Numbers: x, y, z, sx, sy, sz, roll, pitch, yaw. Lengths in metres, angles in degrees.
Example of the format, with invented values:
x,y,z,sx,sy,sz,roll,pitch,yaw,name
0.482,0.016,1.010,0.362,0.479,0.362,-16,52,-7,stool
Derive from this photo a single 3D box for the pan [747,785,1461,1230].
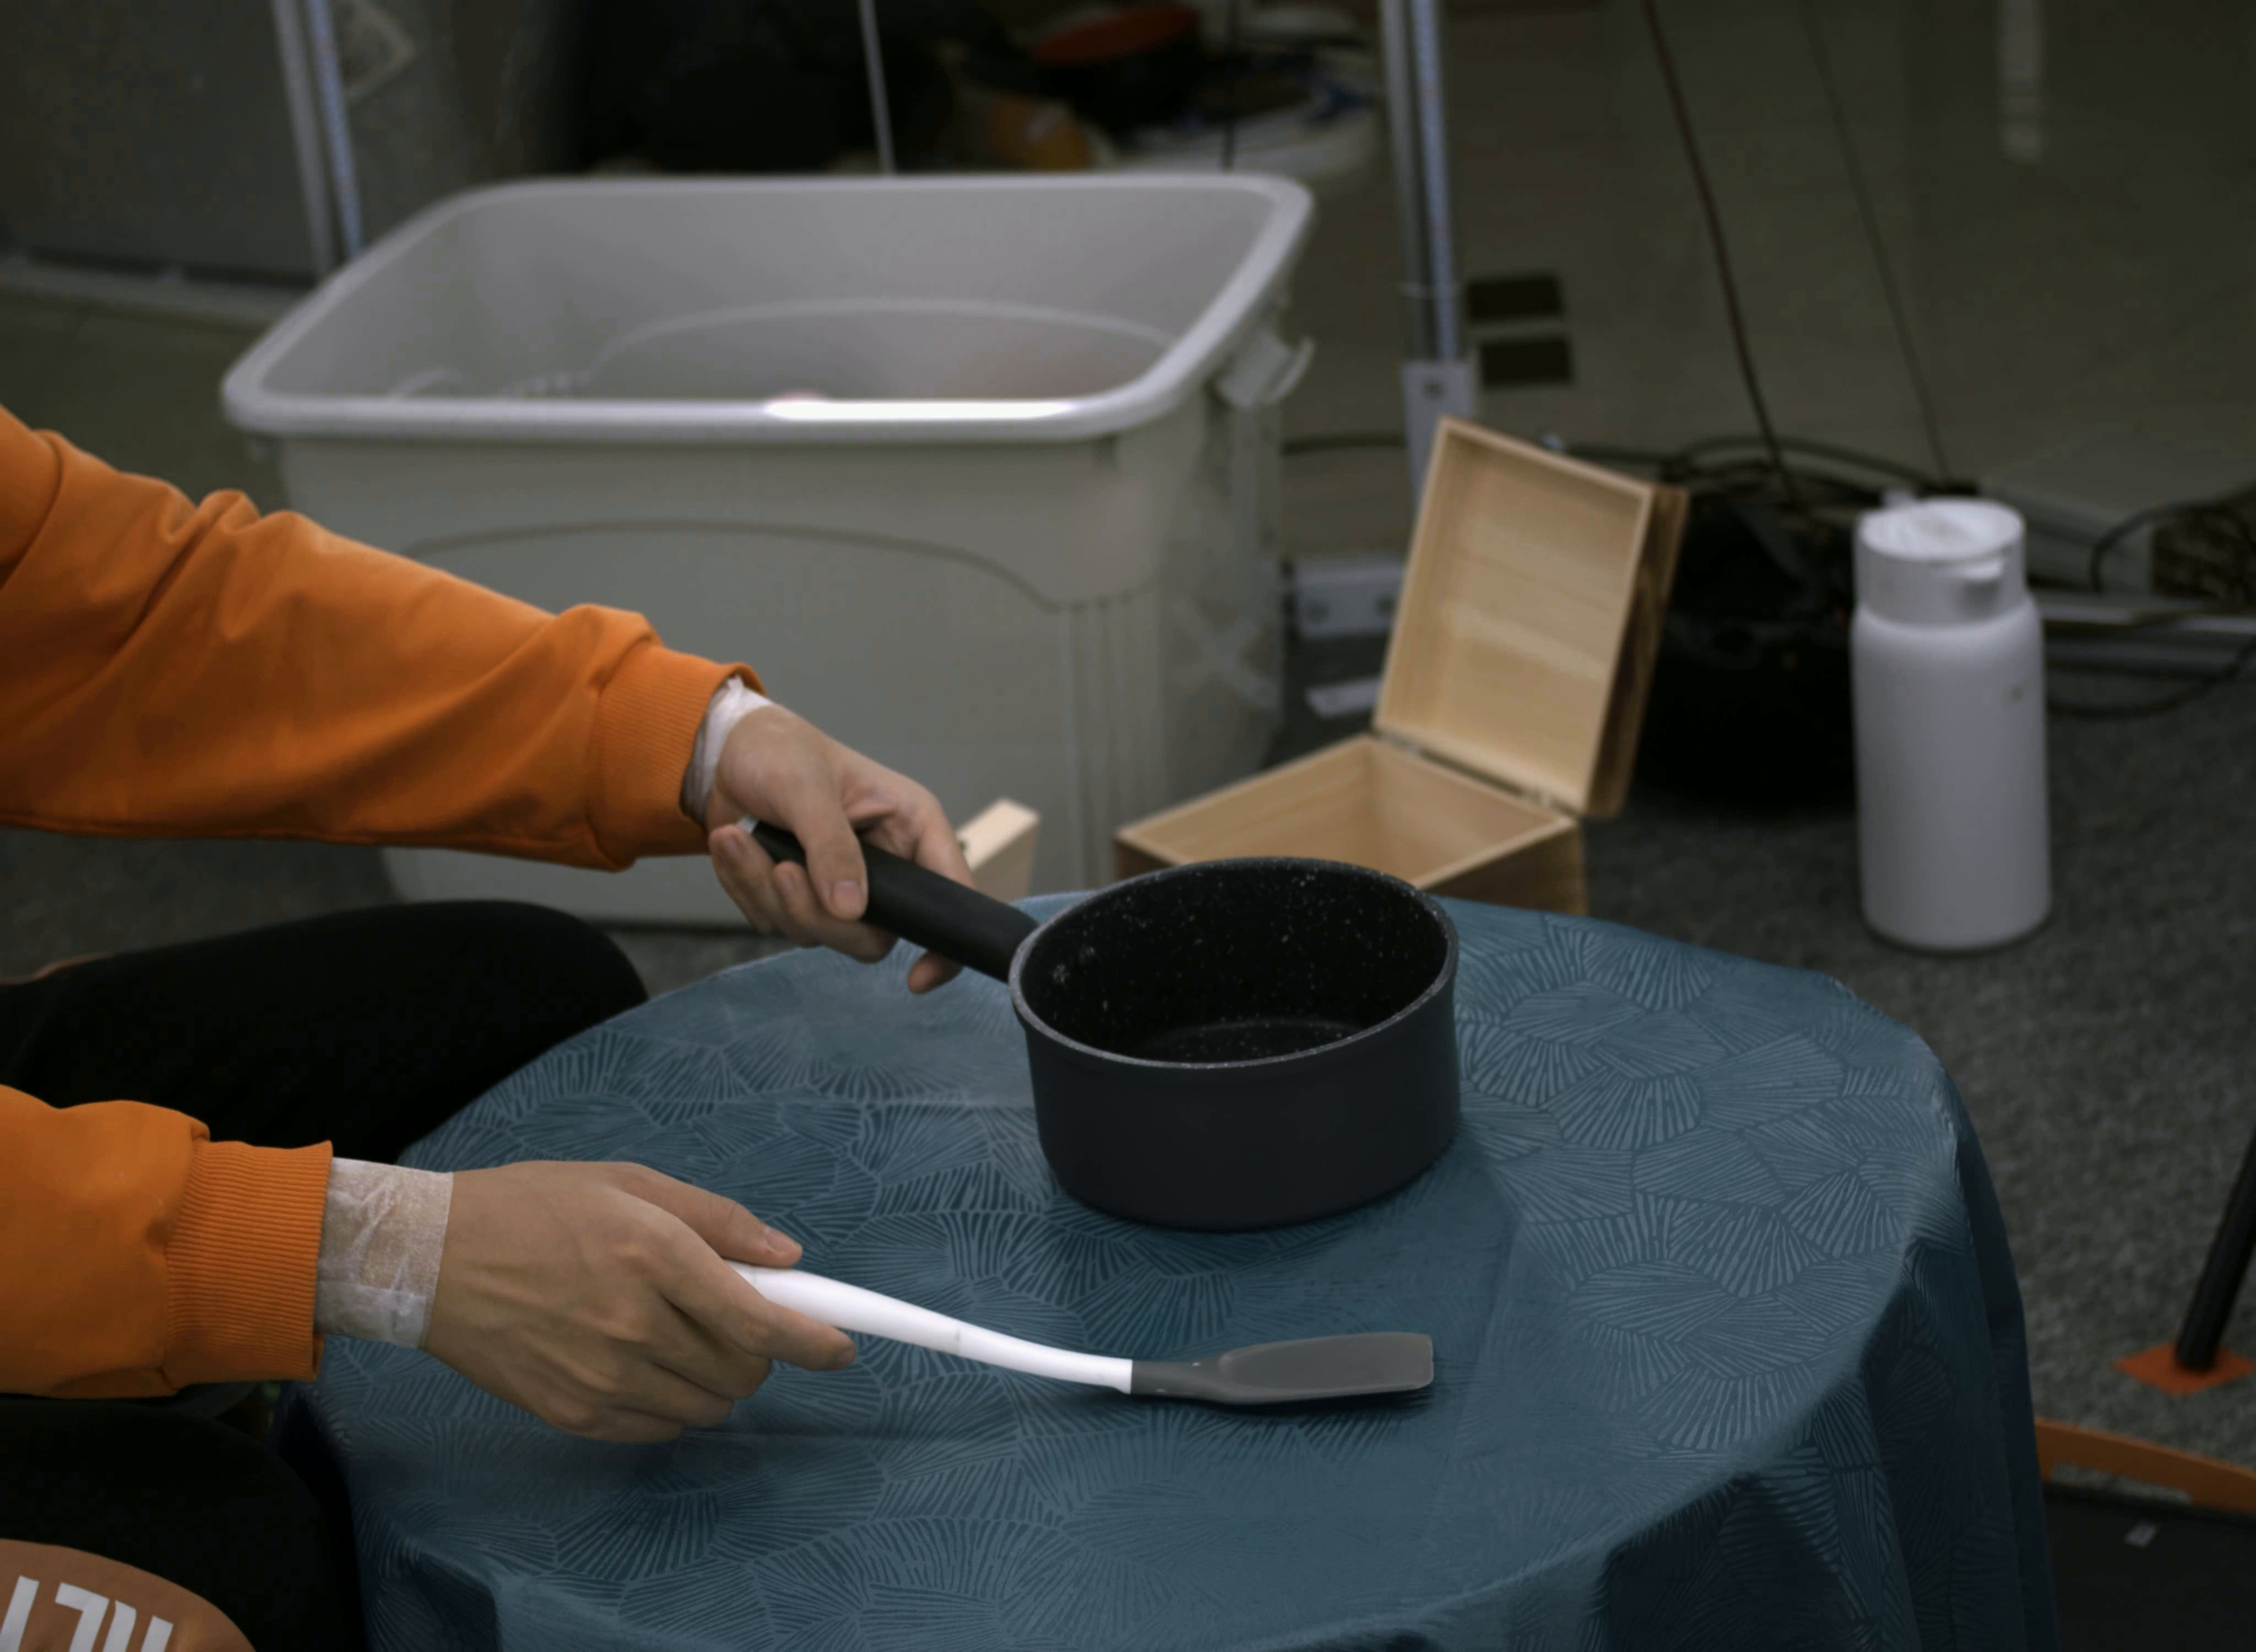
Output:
x,y,z,sx,sy,sz,roll,pitch,yaw,name
-0.018,0.063,2.206,0.326,0.088,0.170,17,34,36,pan

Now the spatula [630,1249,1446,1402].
x,y,z,sx,sy,sz,roll,pitch,yaw,name
-0.032,0.180,2.001,0.287,0.032,0.058,6,13,-1,spatula
